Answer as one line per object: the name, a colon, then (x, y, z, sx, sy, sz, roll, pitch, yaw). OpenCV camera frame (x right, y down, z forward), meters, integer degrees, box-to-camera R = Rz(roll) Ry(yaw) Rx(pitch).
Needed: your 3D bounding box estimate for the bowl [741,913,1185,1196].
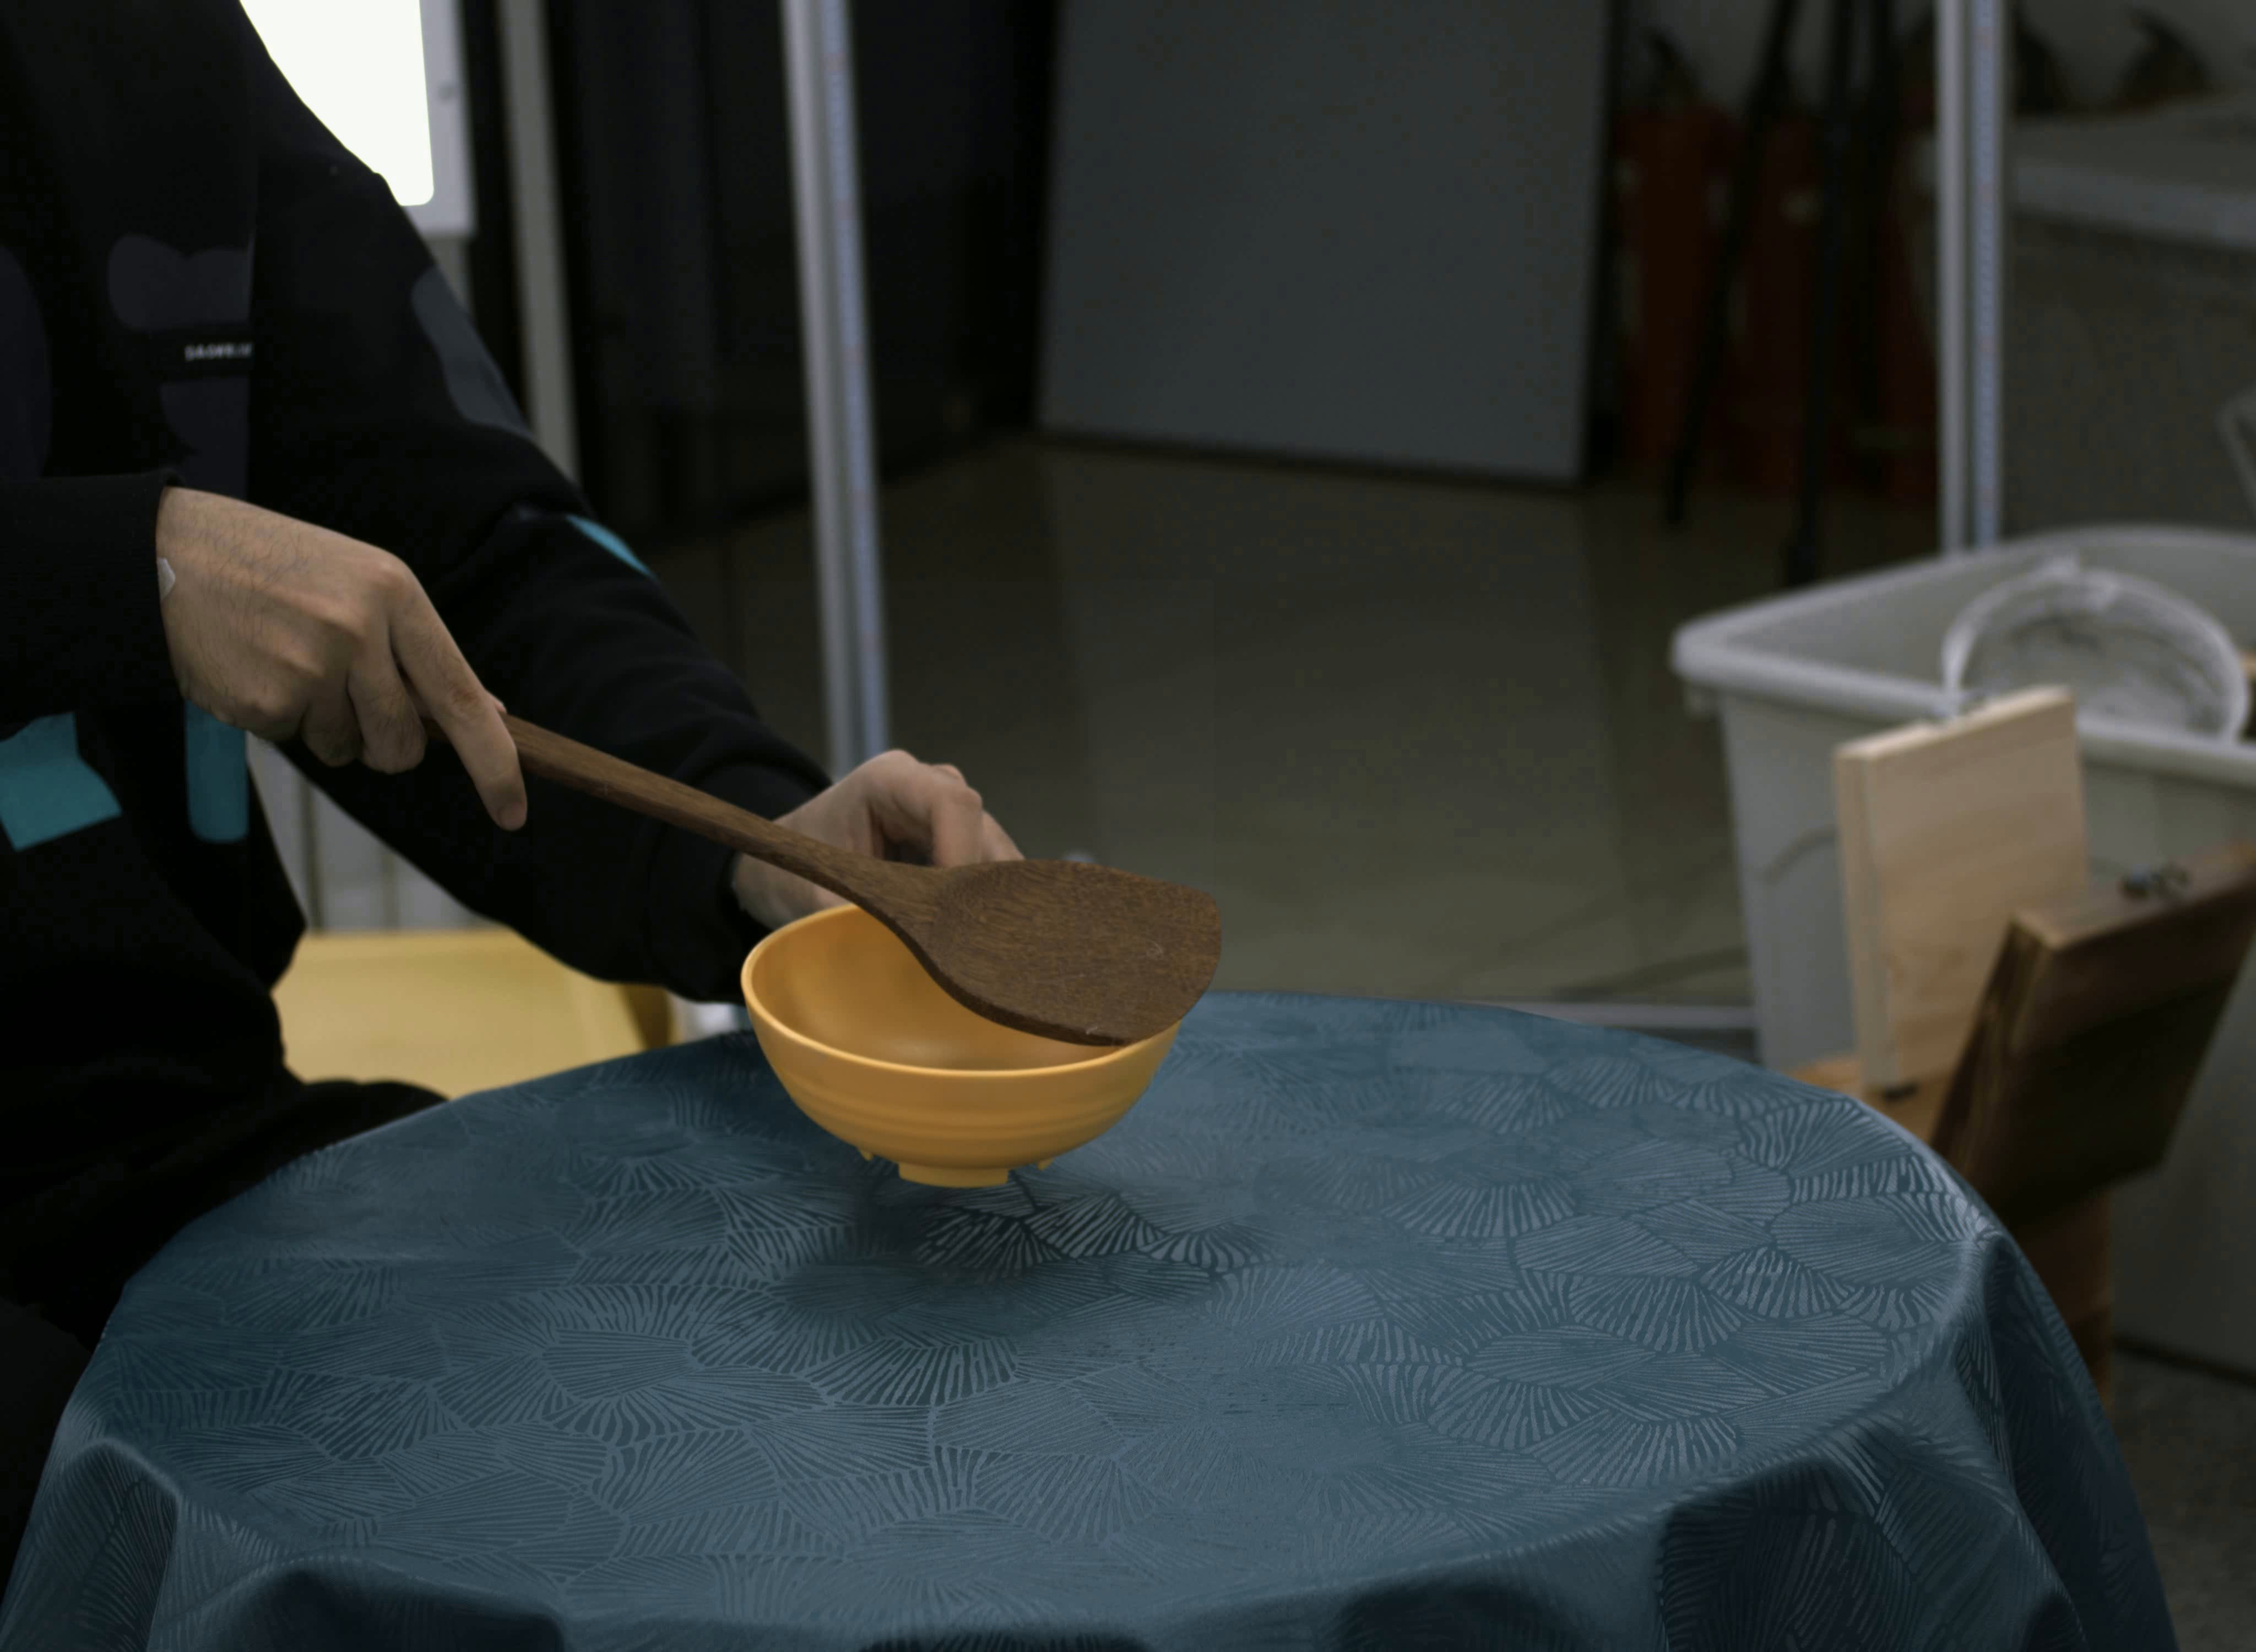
bowl: (-0.055, 0.079, 1.735, 0.143, 0.061, 0.145, 4, 18, -2)

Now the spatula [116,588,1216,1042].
spatula: (-0.154, -0.011, 1.755, 0.384, 0.016, 0.095, 20, 35, 10)
